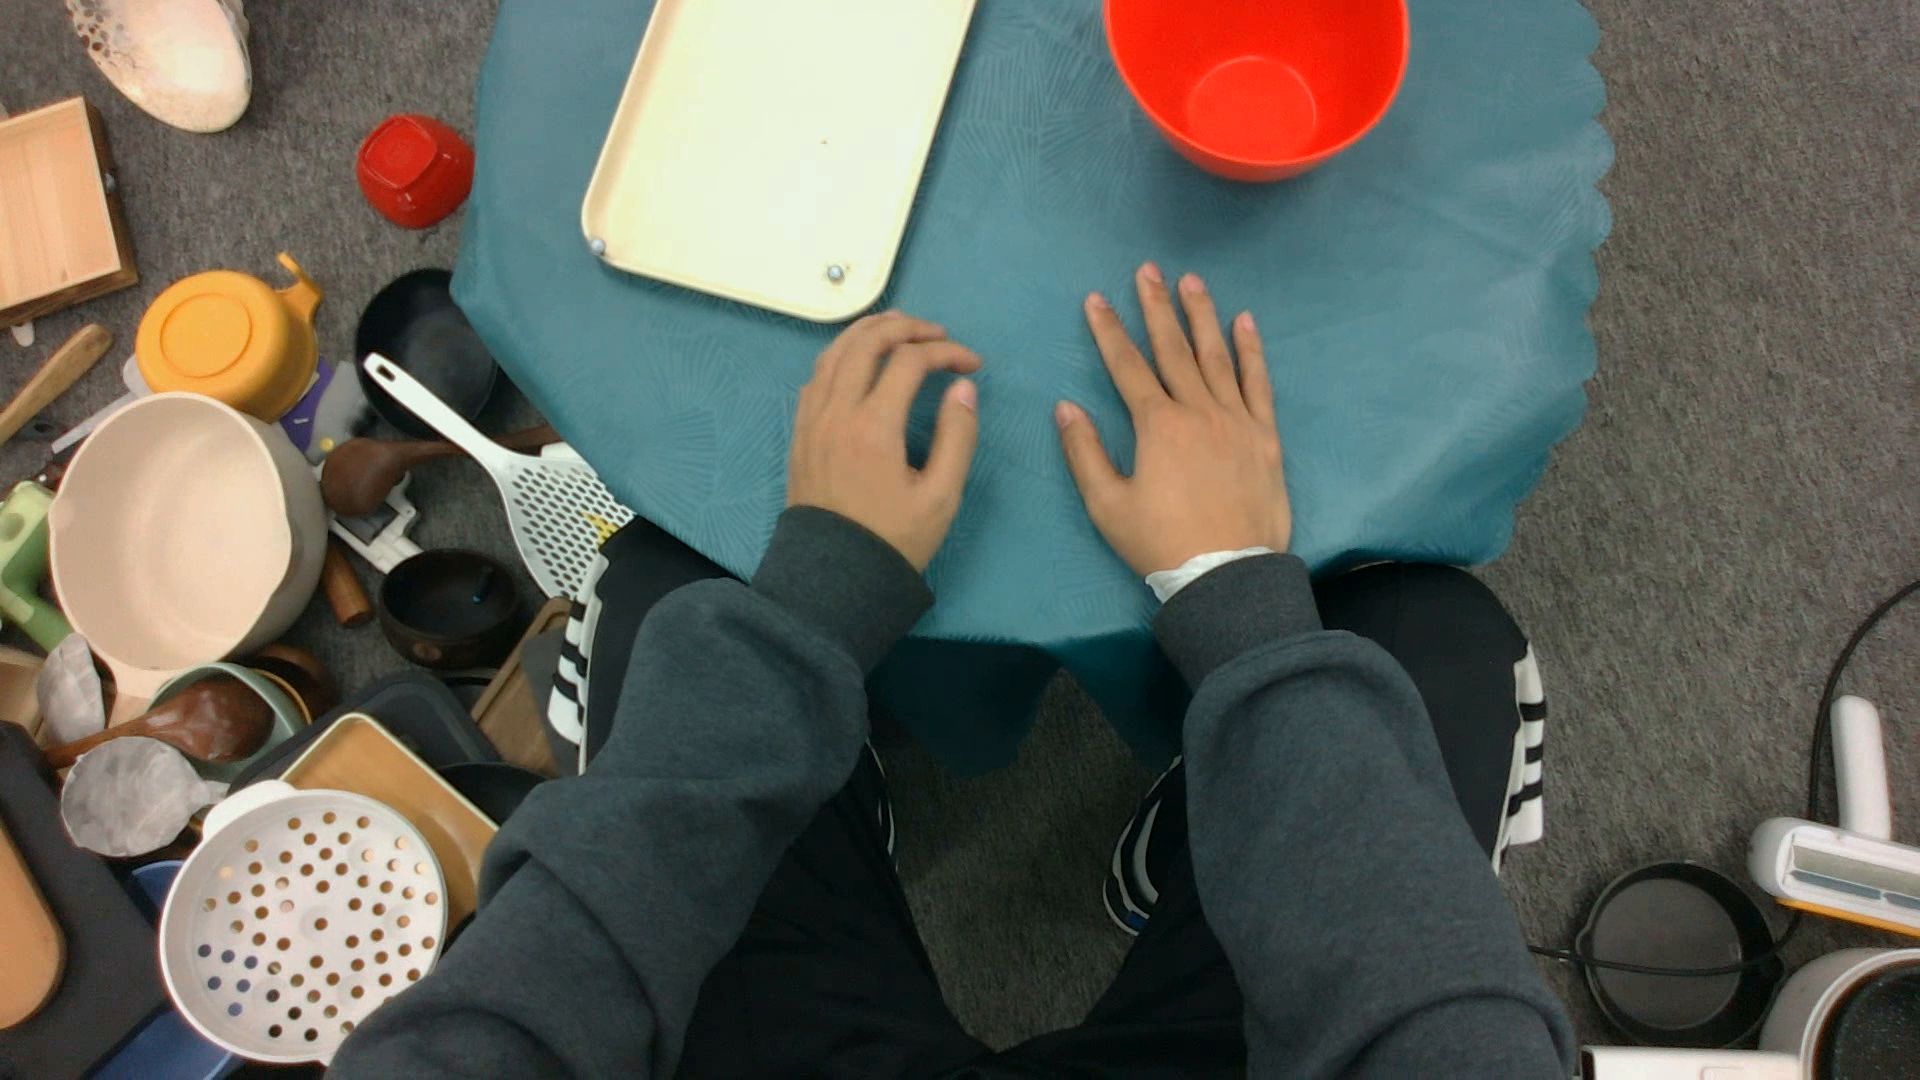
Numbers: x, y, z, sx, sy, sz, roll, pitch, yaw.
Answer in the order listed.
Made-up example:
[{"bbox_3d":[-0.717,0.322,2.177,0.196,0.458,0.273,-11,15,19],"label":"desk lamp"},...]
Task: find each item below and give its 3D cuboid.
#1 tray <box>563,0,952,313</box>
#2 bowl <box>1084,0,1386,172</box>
[{"bbox_3d":[-0.105,-0.245,0.751,0.171,0.017,0.240,15,79,4],"label":"tray"},{"bbox_3d":[0.135,-0.247,0.700,0.148,0.104,0.148,0,78,2],"label":"bowl"}]
